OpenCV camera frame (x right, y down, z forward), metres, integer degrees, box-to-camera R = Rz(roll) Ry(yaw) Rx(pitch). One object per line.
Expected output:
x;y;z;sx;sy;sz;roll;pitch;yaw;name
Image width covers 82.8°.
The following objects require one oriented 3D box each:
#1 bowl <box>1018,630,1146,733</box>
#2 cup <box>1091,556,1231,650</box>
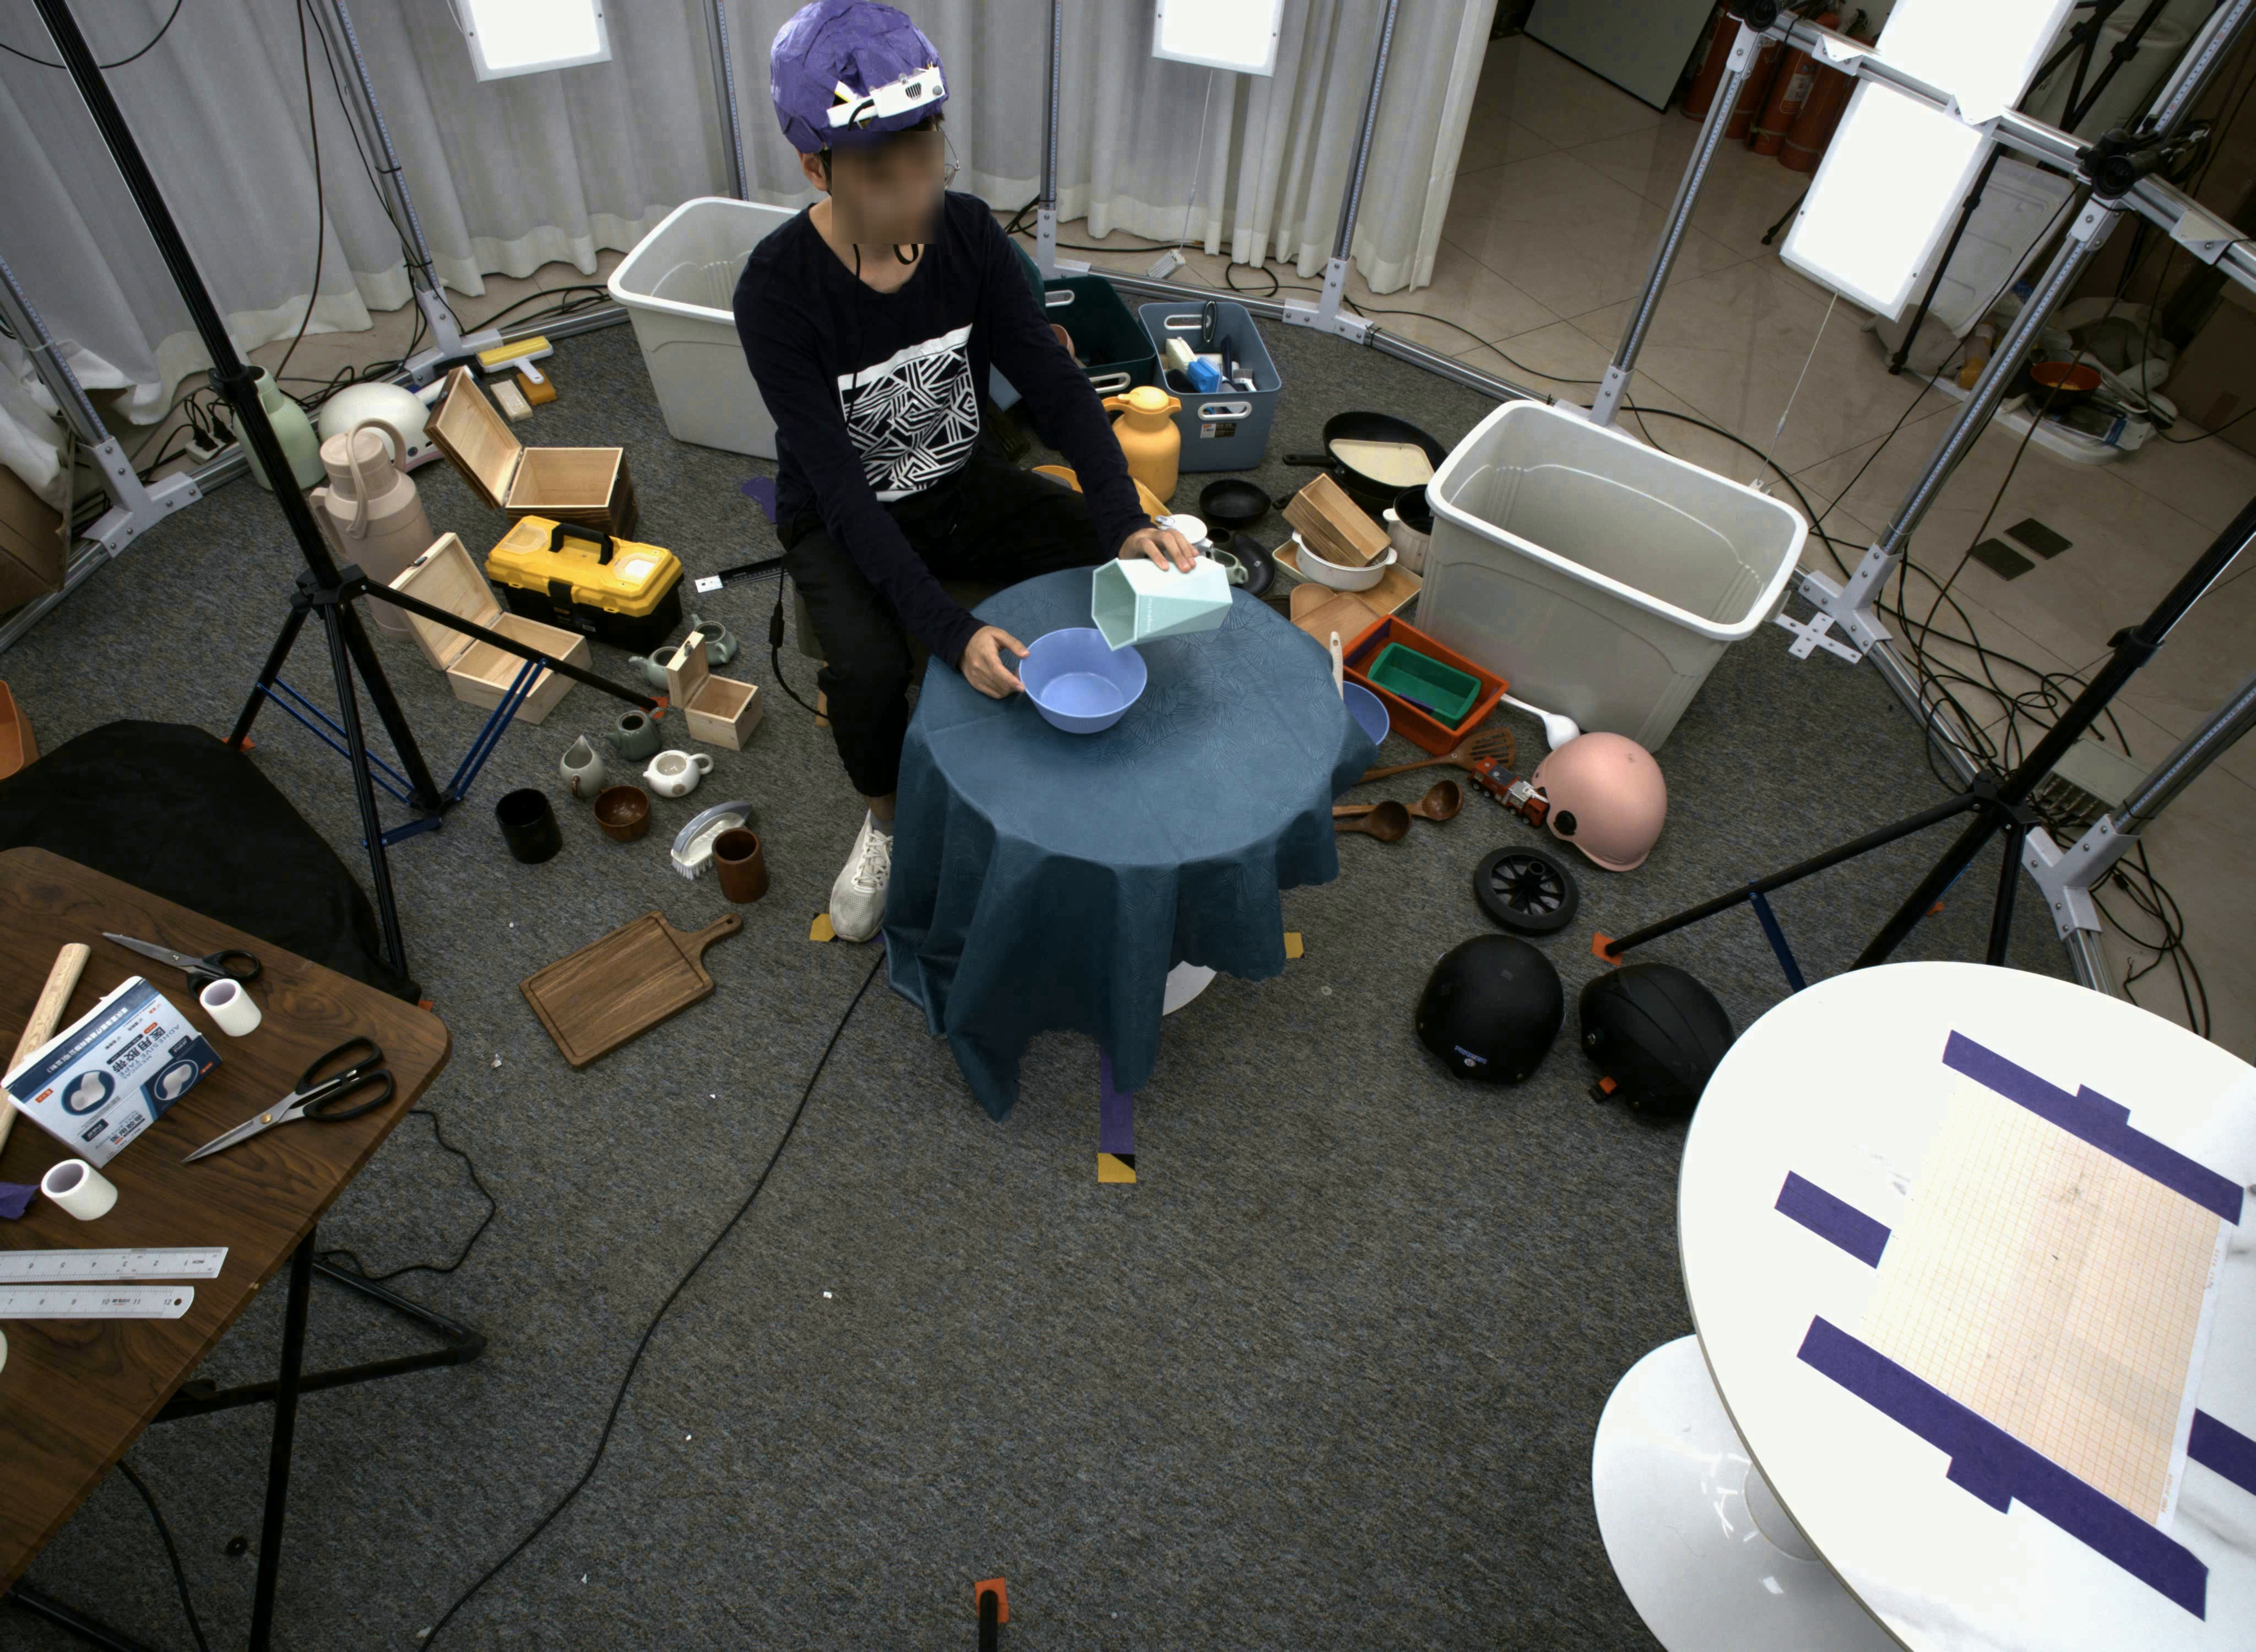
-0.064;-0.193;1.785;0.176;0.068;0.180;2;48;-2;bowl
0.048;-0.314;1.774;0.163;0.129;0.117;-11;25;-29;cup
